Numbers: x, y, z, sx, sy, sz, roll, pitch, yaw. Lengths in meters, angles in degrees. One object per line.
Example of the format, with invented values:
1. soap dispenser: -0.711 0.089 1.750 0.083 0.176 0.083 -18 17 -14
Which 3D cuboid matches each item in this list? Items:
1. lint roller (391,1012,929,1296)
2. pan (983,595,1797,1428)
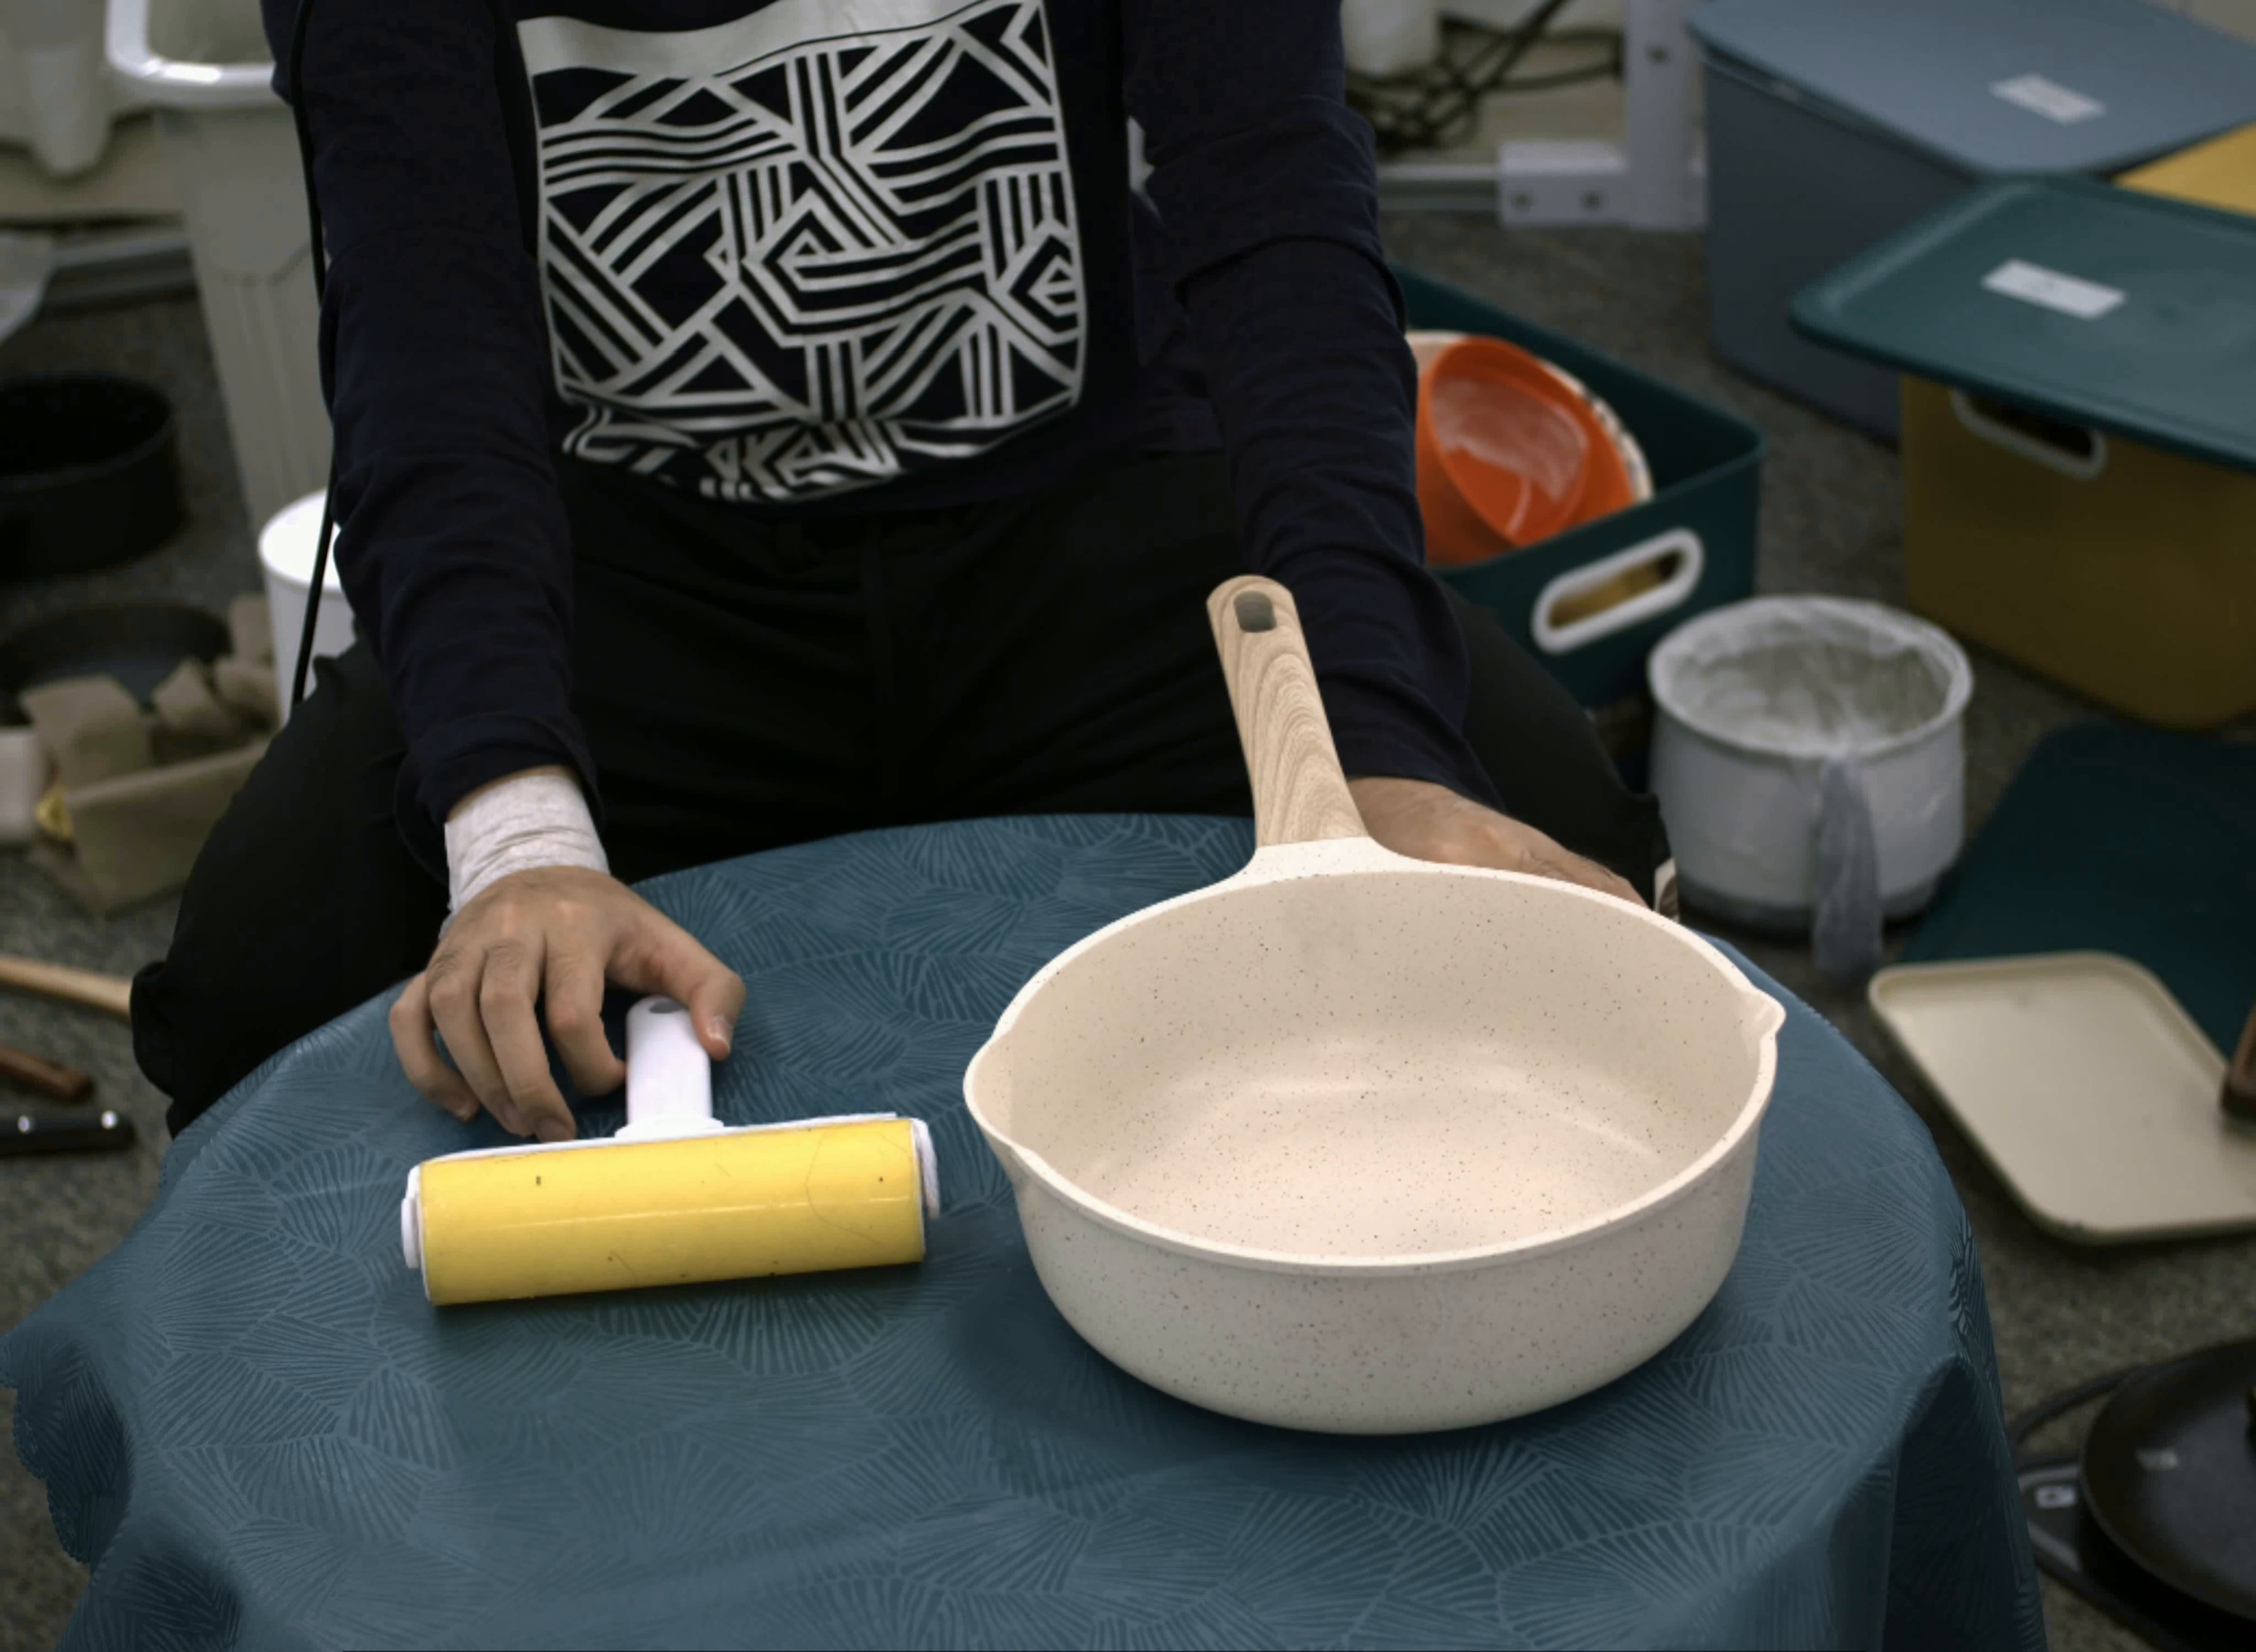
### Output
1. lint roller: -0.158 0.093 1.882 0.174 0.051 0.194 -5 26 -4
2. pan: 0.075 0.057 1.874 0.262 0.101 0.440 -8 27 -4
